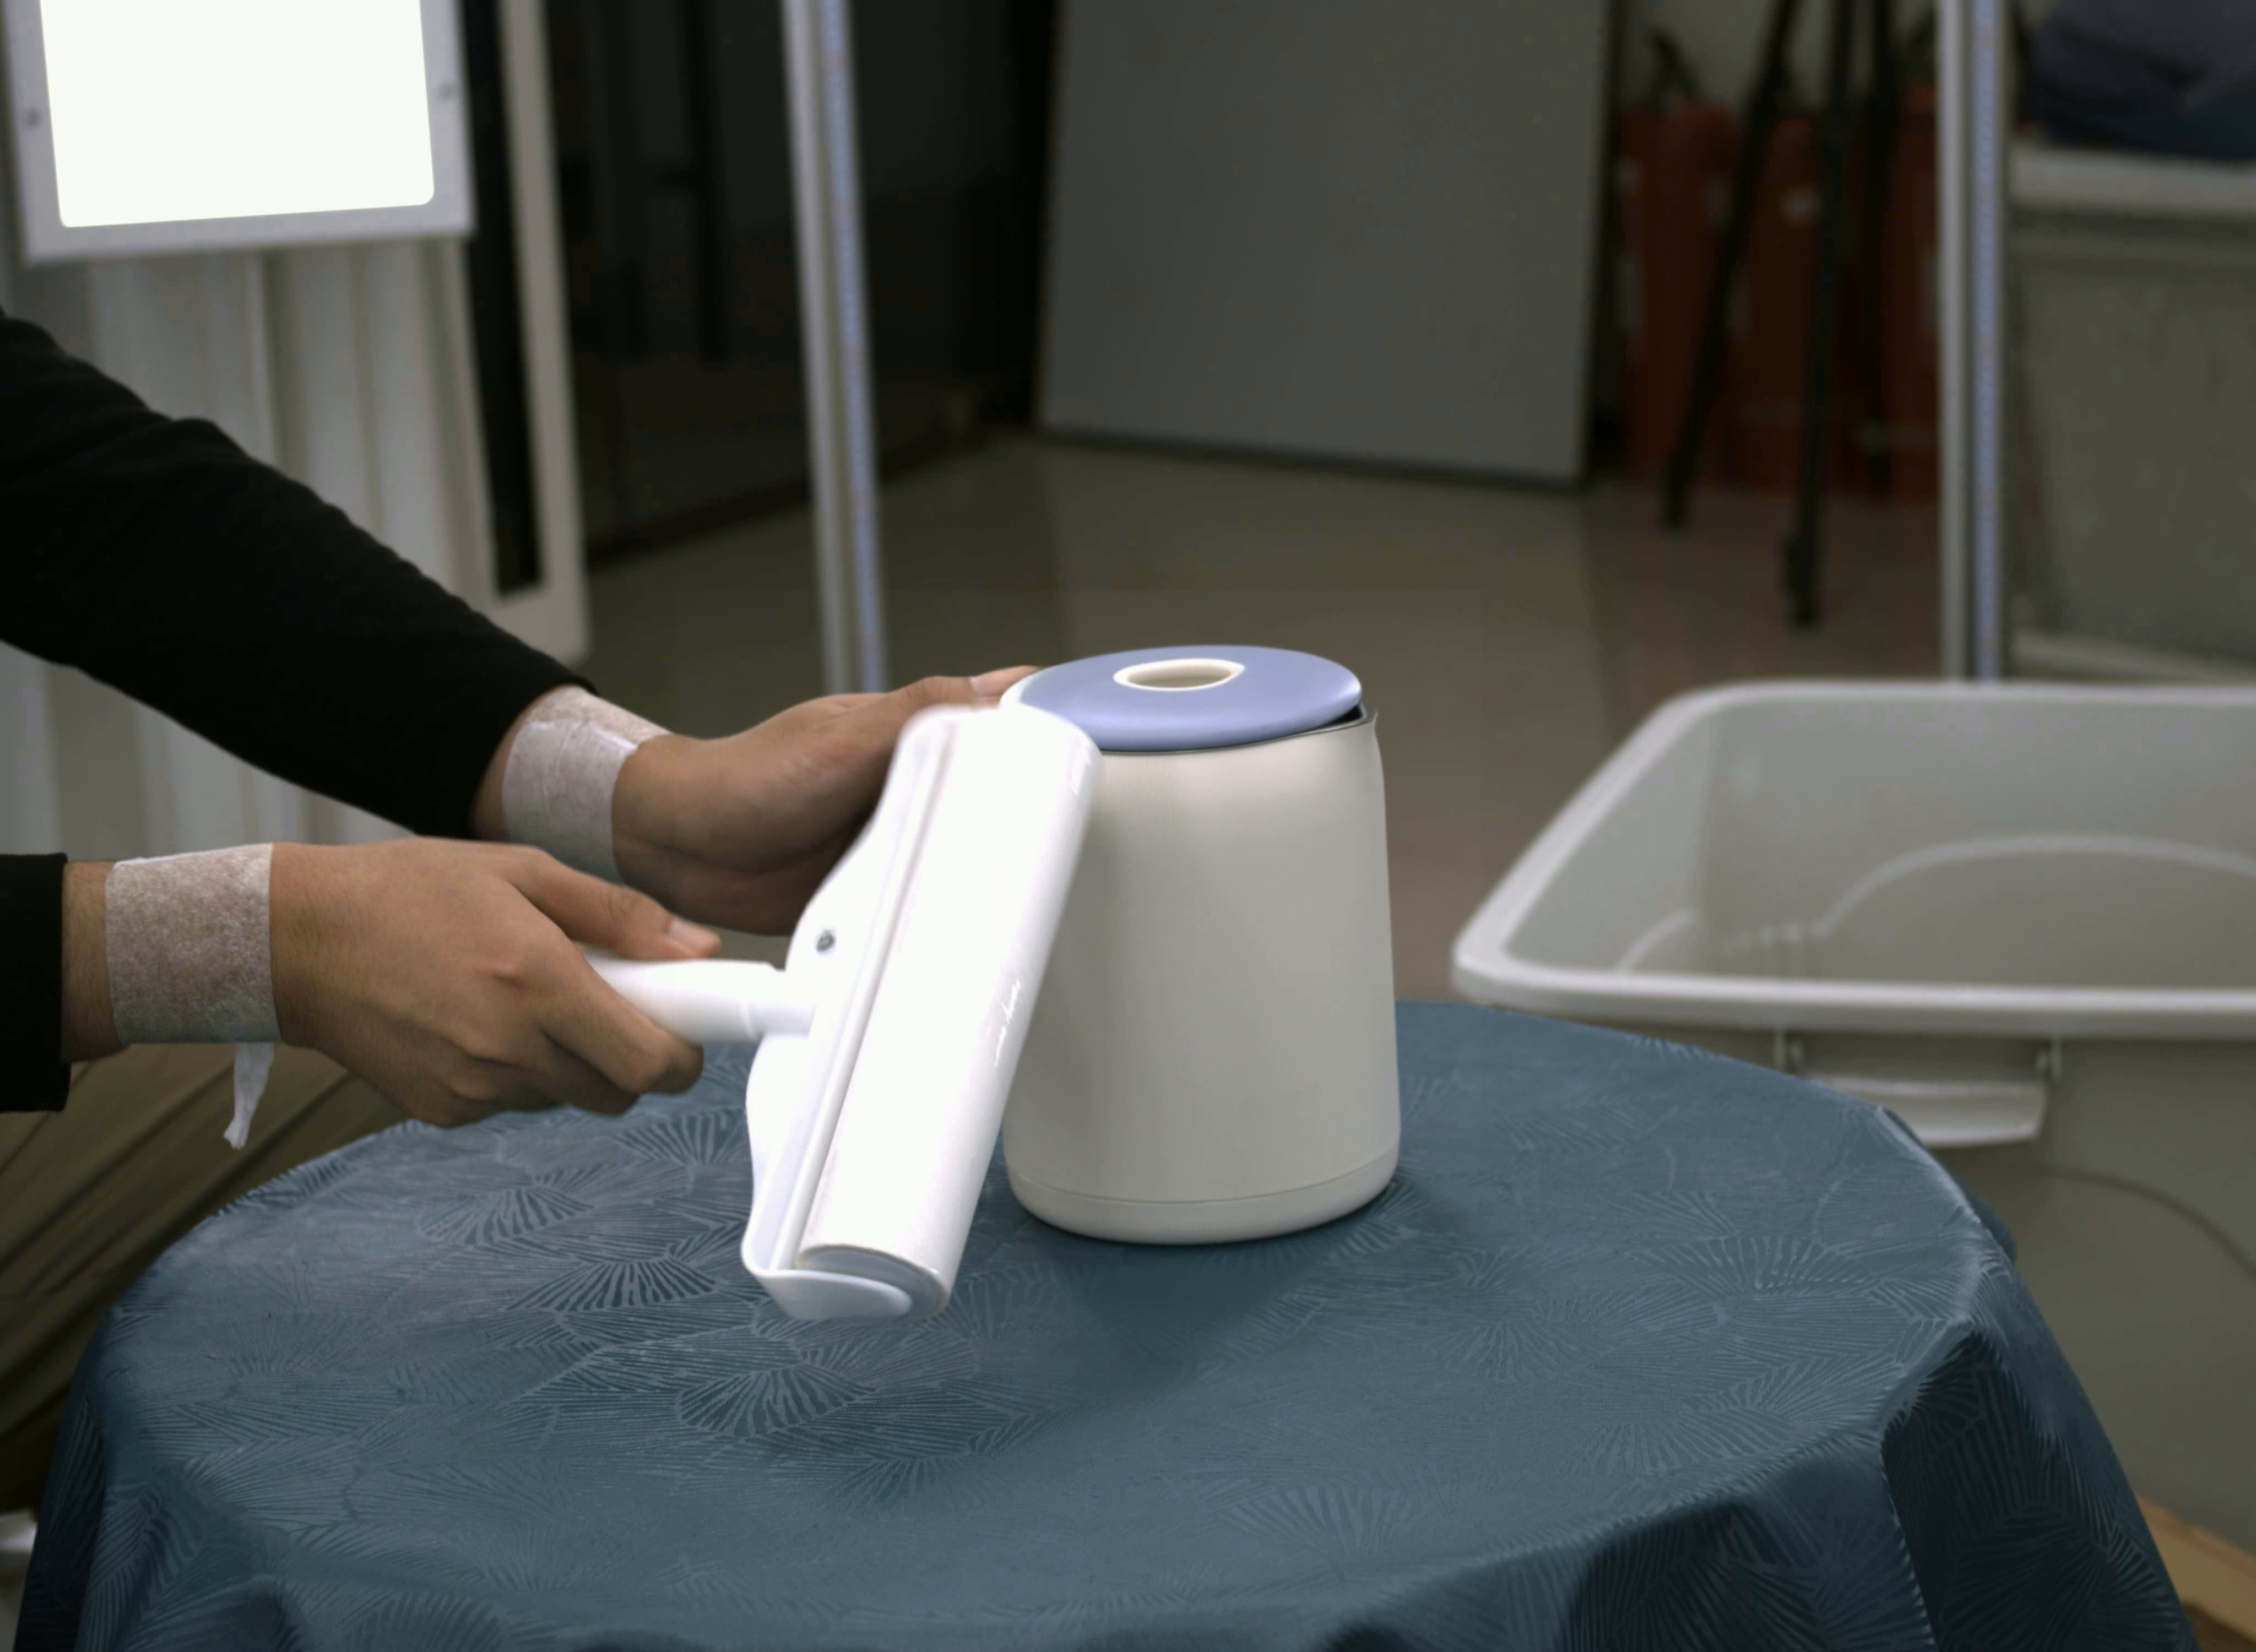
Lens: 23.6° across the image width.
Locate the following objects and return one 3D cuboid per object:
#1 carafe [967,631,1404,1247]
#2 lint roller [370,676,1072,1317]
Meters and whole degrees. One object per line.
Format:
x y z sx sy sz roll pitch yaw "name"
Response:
-0.001 0.035 1.757 0.191 0.184 0.130 0 13 25 "carafe"
-0.136 0.048 1.653 0.225 0.204 0.048 1 -28 23 "lint roller"
